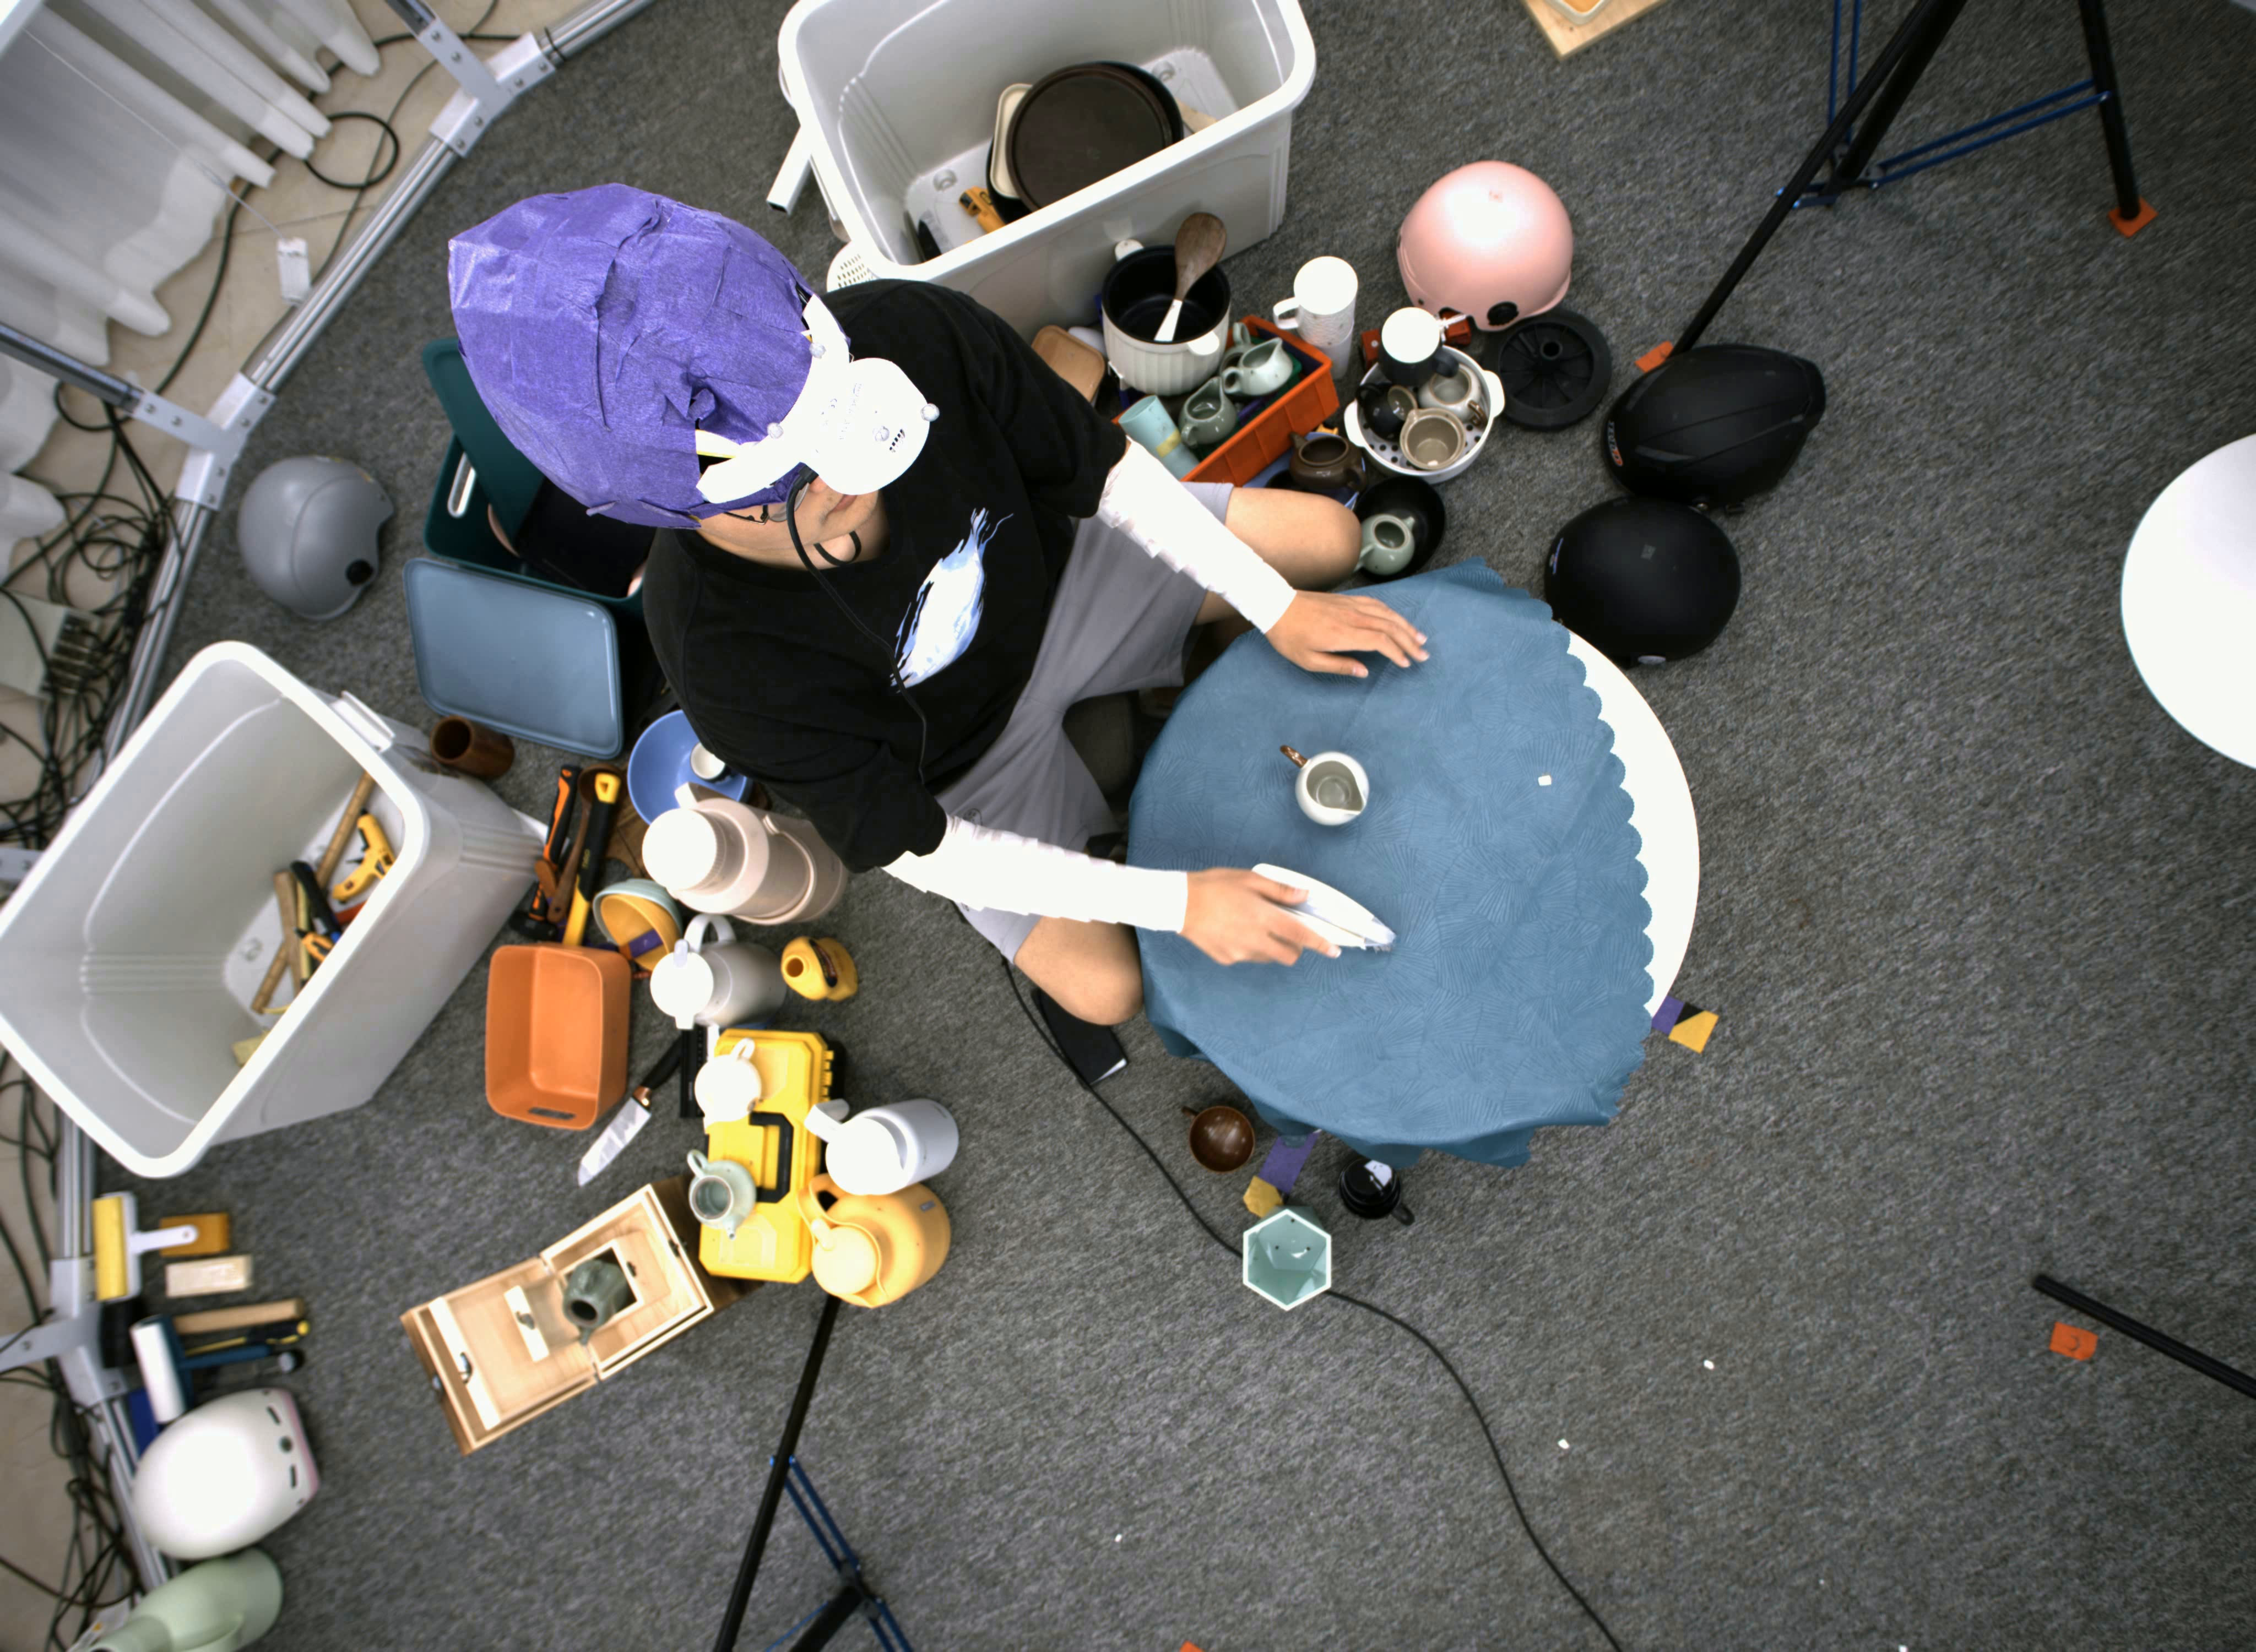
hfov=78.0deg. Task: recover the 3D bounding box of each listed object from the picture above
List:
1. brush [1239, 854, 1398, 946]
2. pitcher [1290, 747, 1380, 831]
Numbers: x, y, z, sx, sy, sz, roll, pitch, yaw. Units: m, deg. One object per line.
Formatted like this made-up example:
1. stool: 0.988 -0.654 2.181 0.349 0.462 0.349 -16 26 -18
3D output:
1. brush: 0.199 0.083 1.423 0.175 0.094 0.061 24 91 7
2. pitcher: 0.213 -0.039 1.431 0.119 0.088 0.076 43 90 9
